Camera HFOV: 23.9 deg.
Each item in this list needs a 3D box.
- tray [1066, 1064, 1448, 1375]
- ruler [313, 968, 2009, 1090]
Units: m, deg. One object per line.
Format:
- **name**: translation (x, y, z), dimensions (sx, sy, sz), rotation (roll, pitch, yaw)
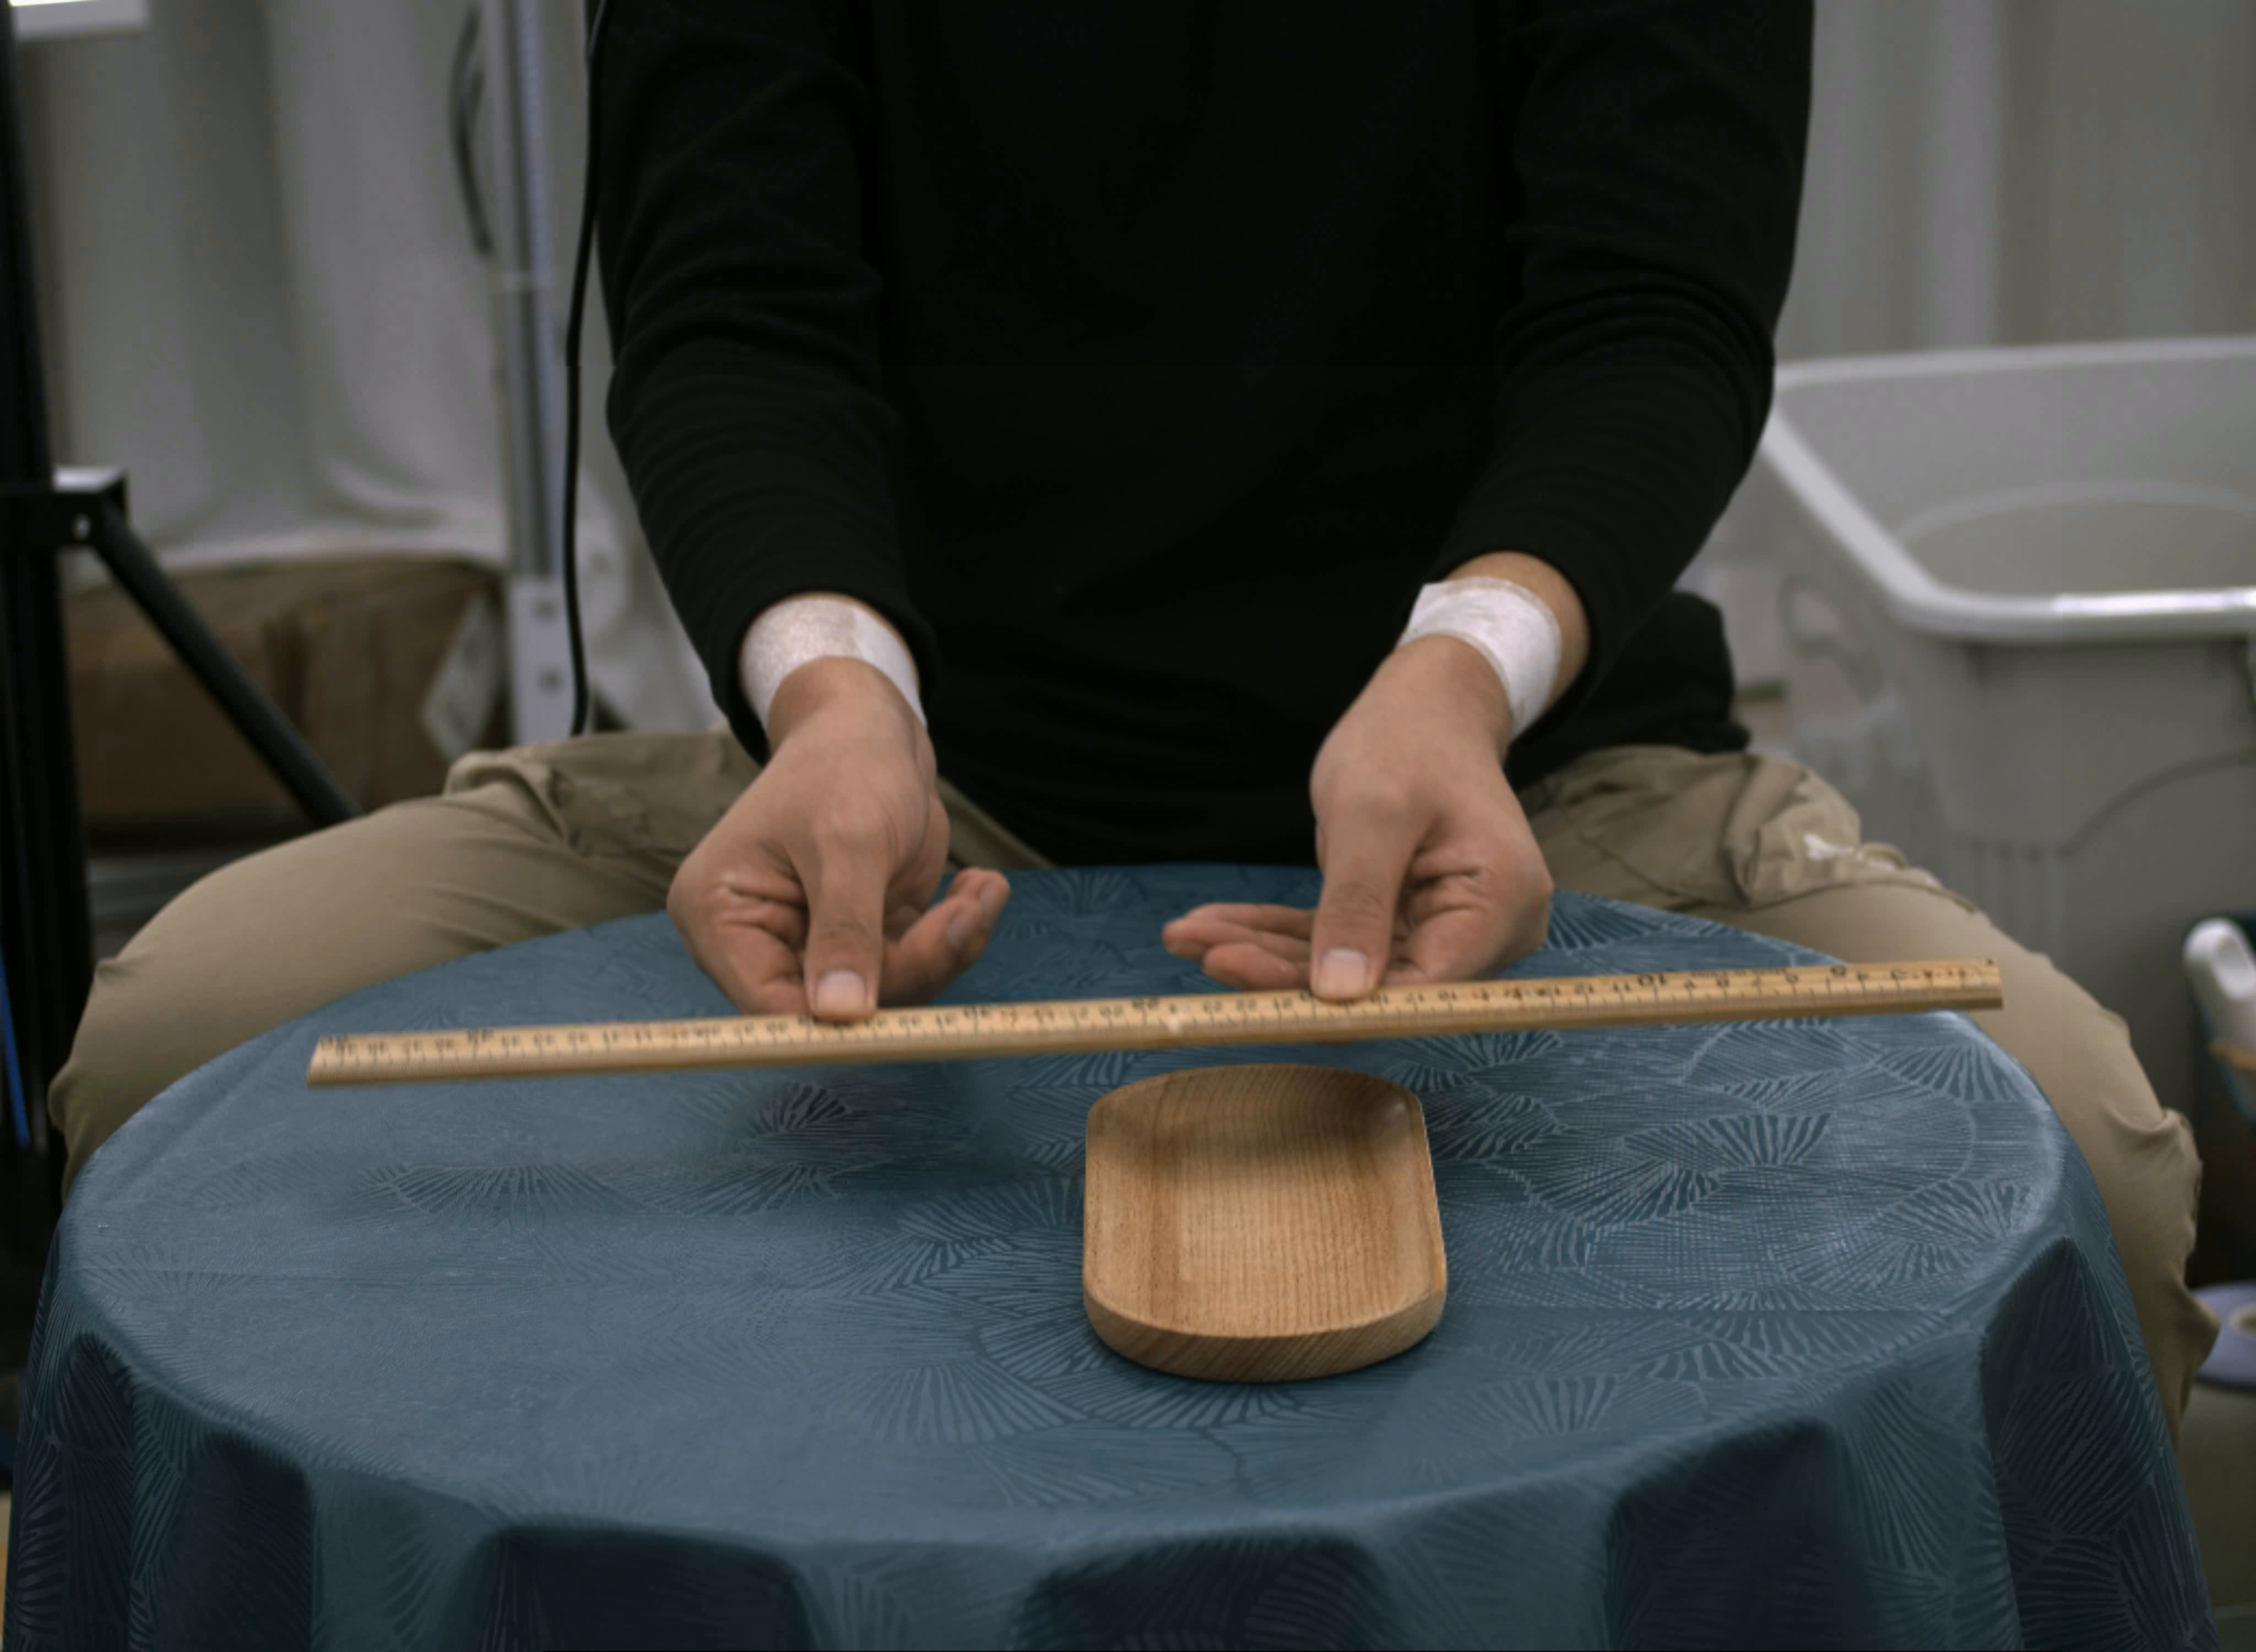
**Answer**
- **tray**: translation (0.035, 0.110, 1.515), dimensions (0.101, 0.020, 0.232), rotation (-1, 14, -2)
- **ruler**: translation (0.006, 0.060, 1.561), dimensions (0.501, 0.006, 0.027), rotation (-3, 24, 8)
